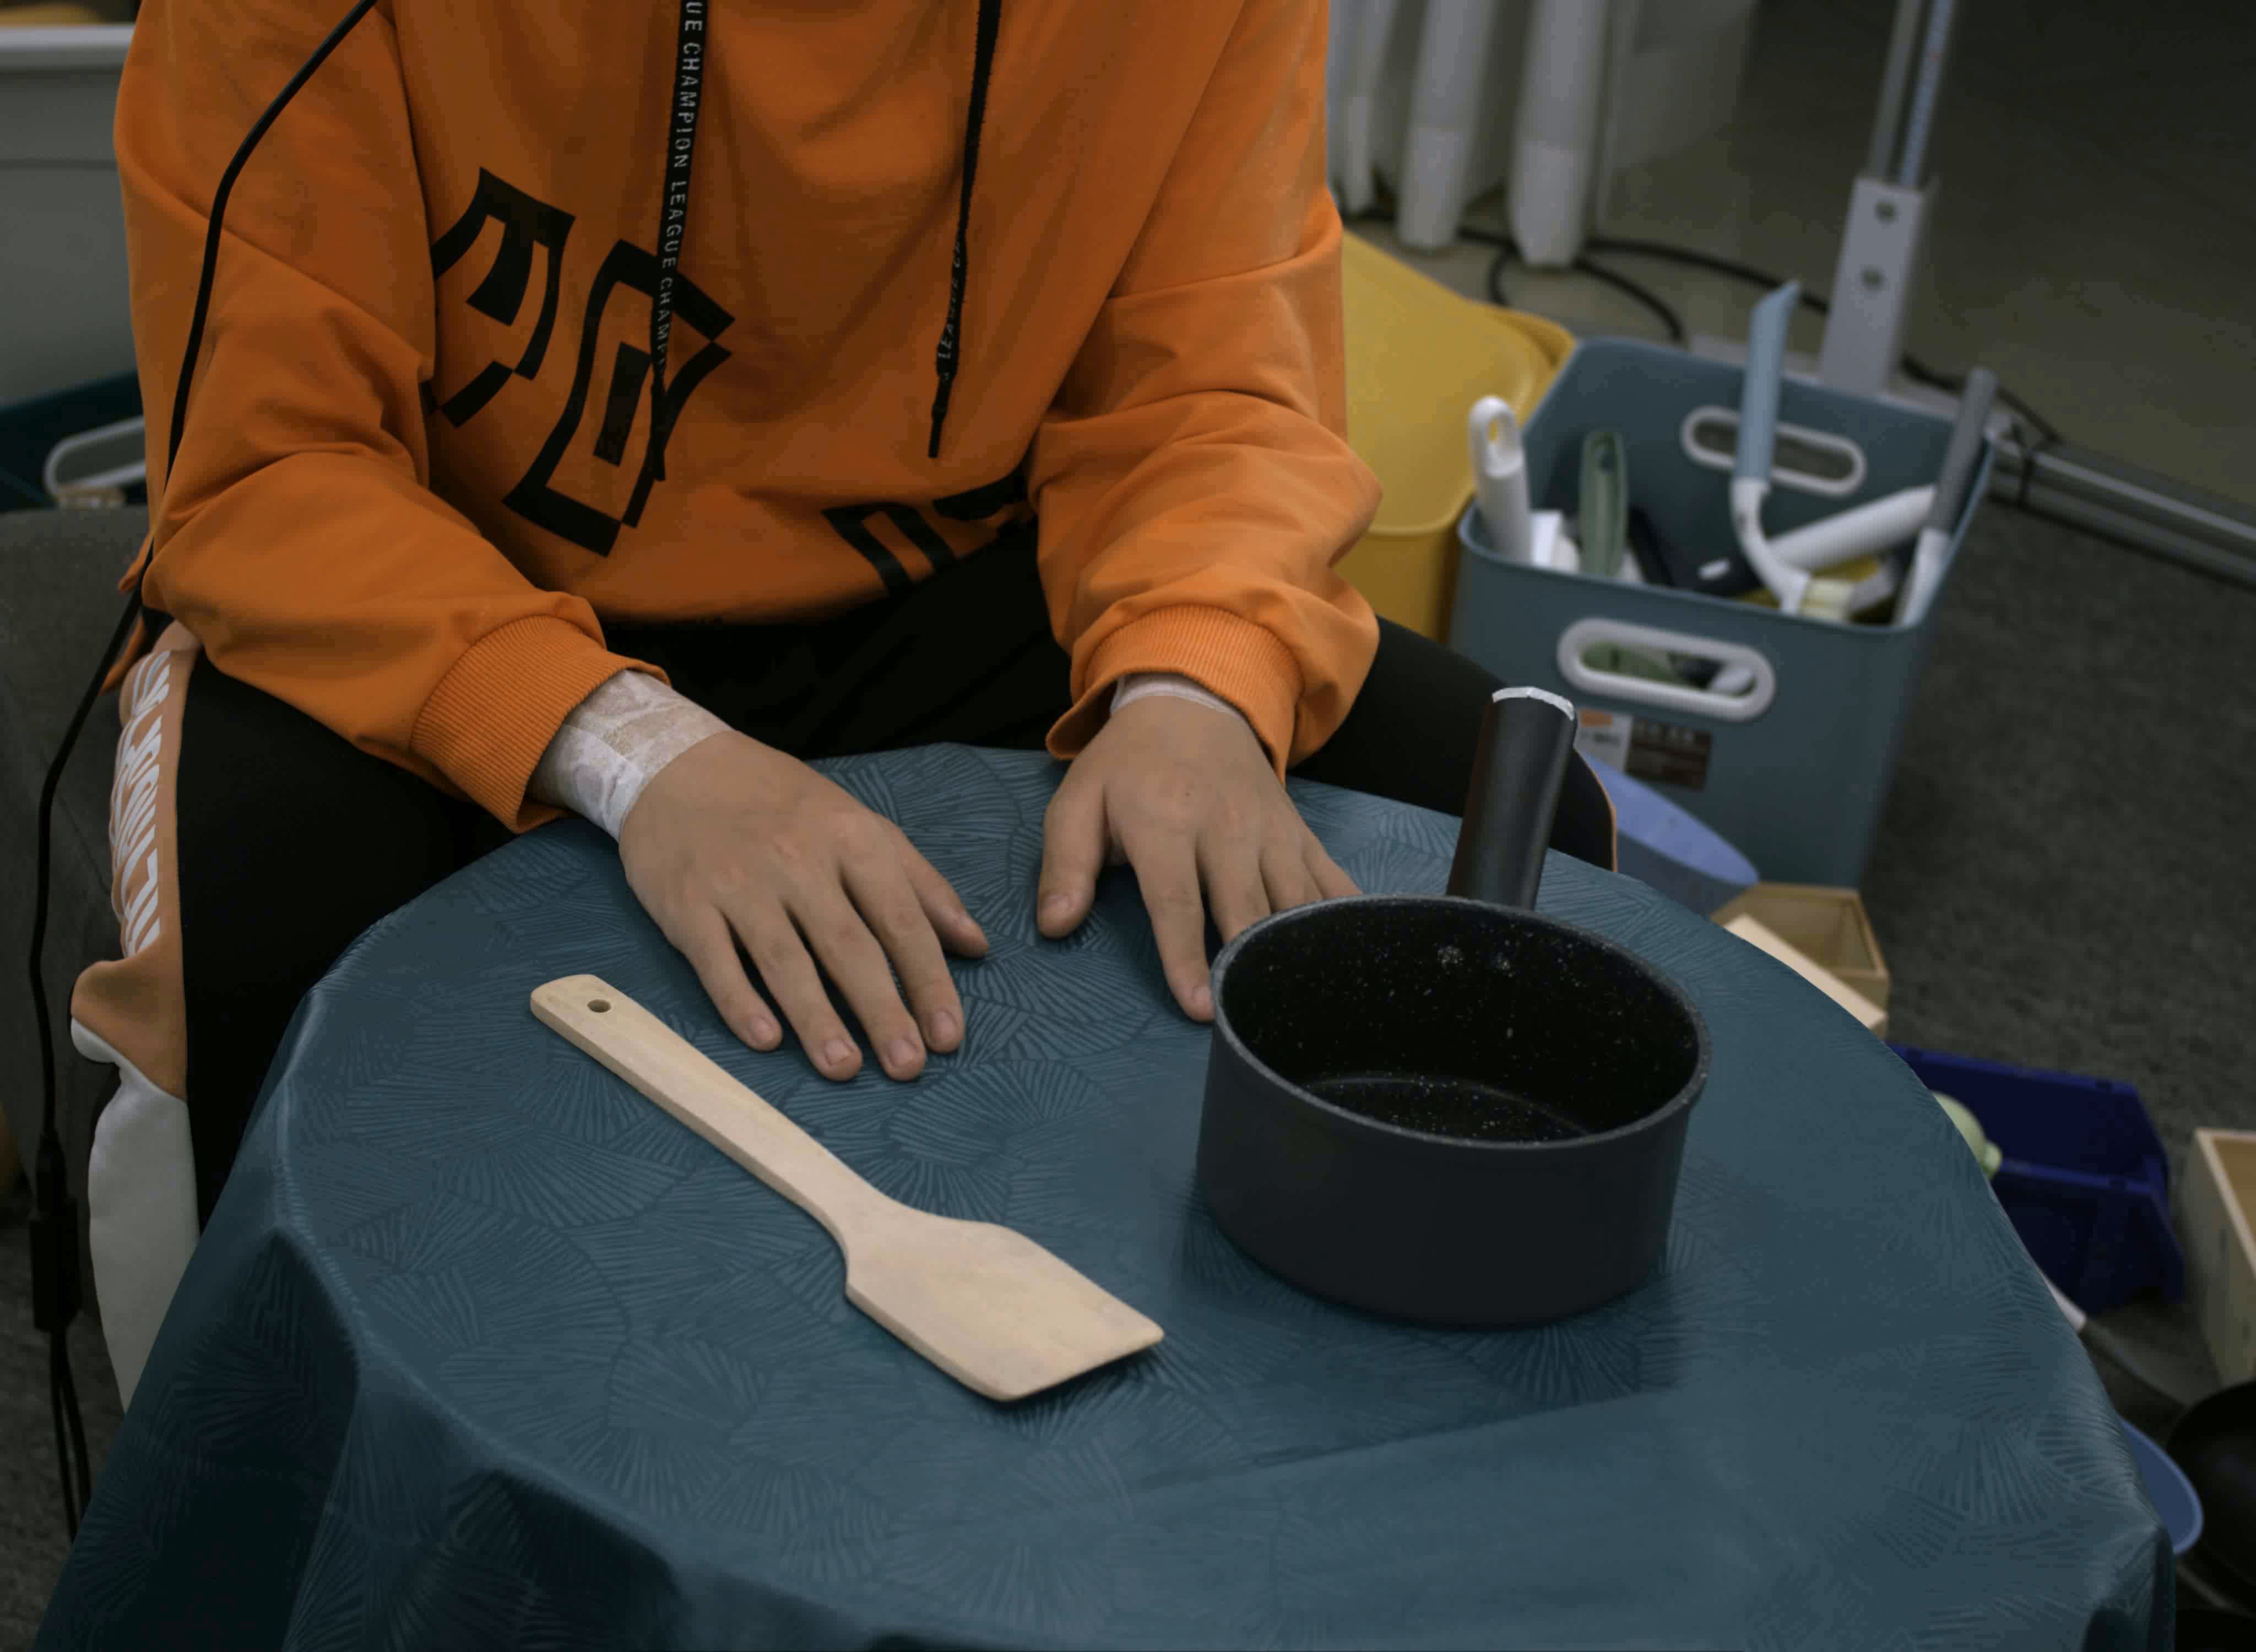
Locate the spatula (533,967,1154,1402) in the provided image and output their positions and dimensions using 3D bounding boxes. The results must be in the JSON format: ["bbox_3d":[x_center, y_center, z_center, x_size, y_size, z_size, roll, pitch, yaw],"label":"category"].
[{"bbox_3d":[-0.110,0.115,1.785,0.072,0.010,0.295,-20,37,-35],"label":"spatula"}]

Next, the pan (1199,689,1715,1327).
[{"bbox_3d":[0.124,0.059,1.866,0.172,0.086,0.330,12,29,8],"label":"pan"}]
